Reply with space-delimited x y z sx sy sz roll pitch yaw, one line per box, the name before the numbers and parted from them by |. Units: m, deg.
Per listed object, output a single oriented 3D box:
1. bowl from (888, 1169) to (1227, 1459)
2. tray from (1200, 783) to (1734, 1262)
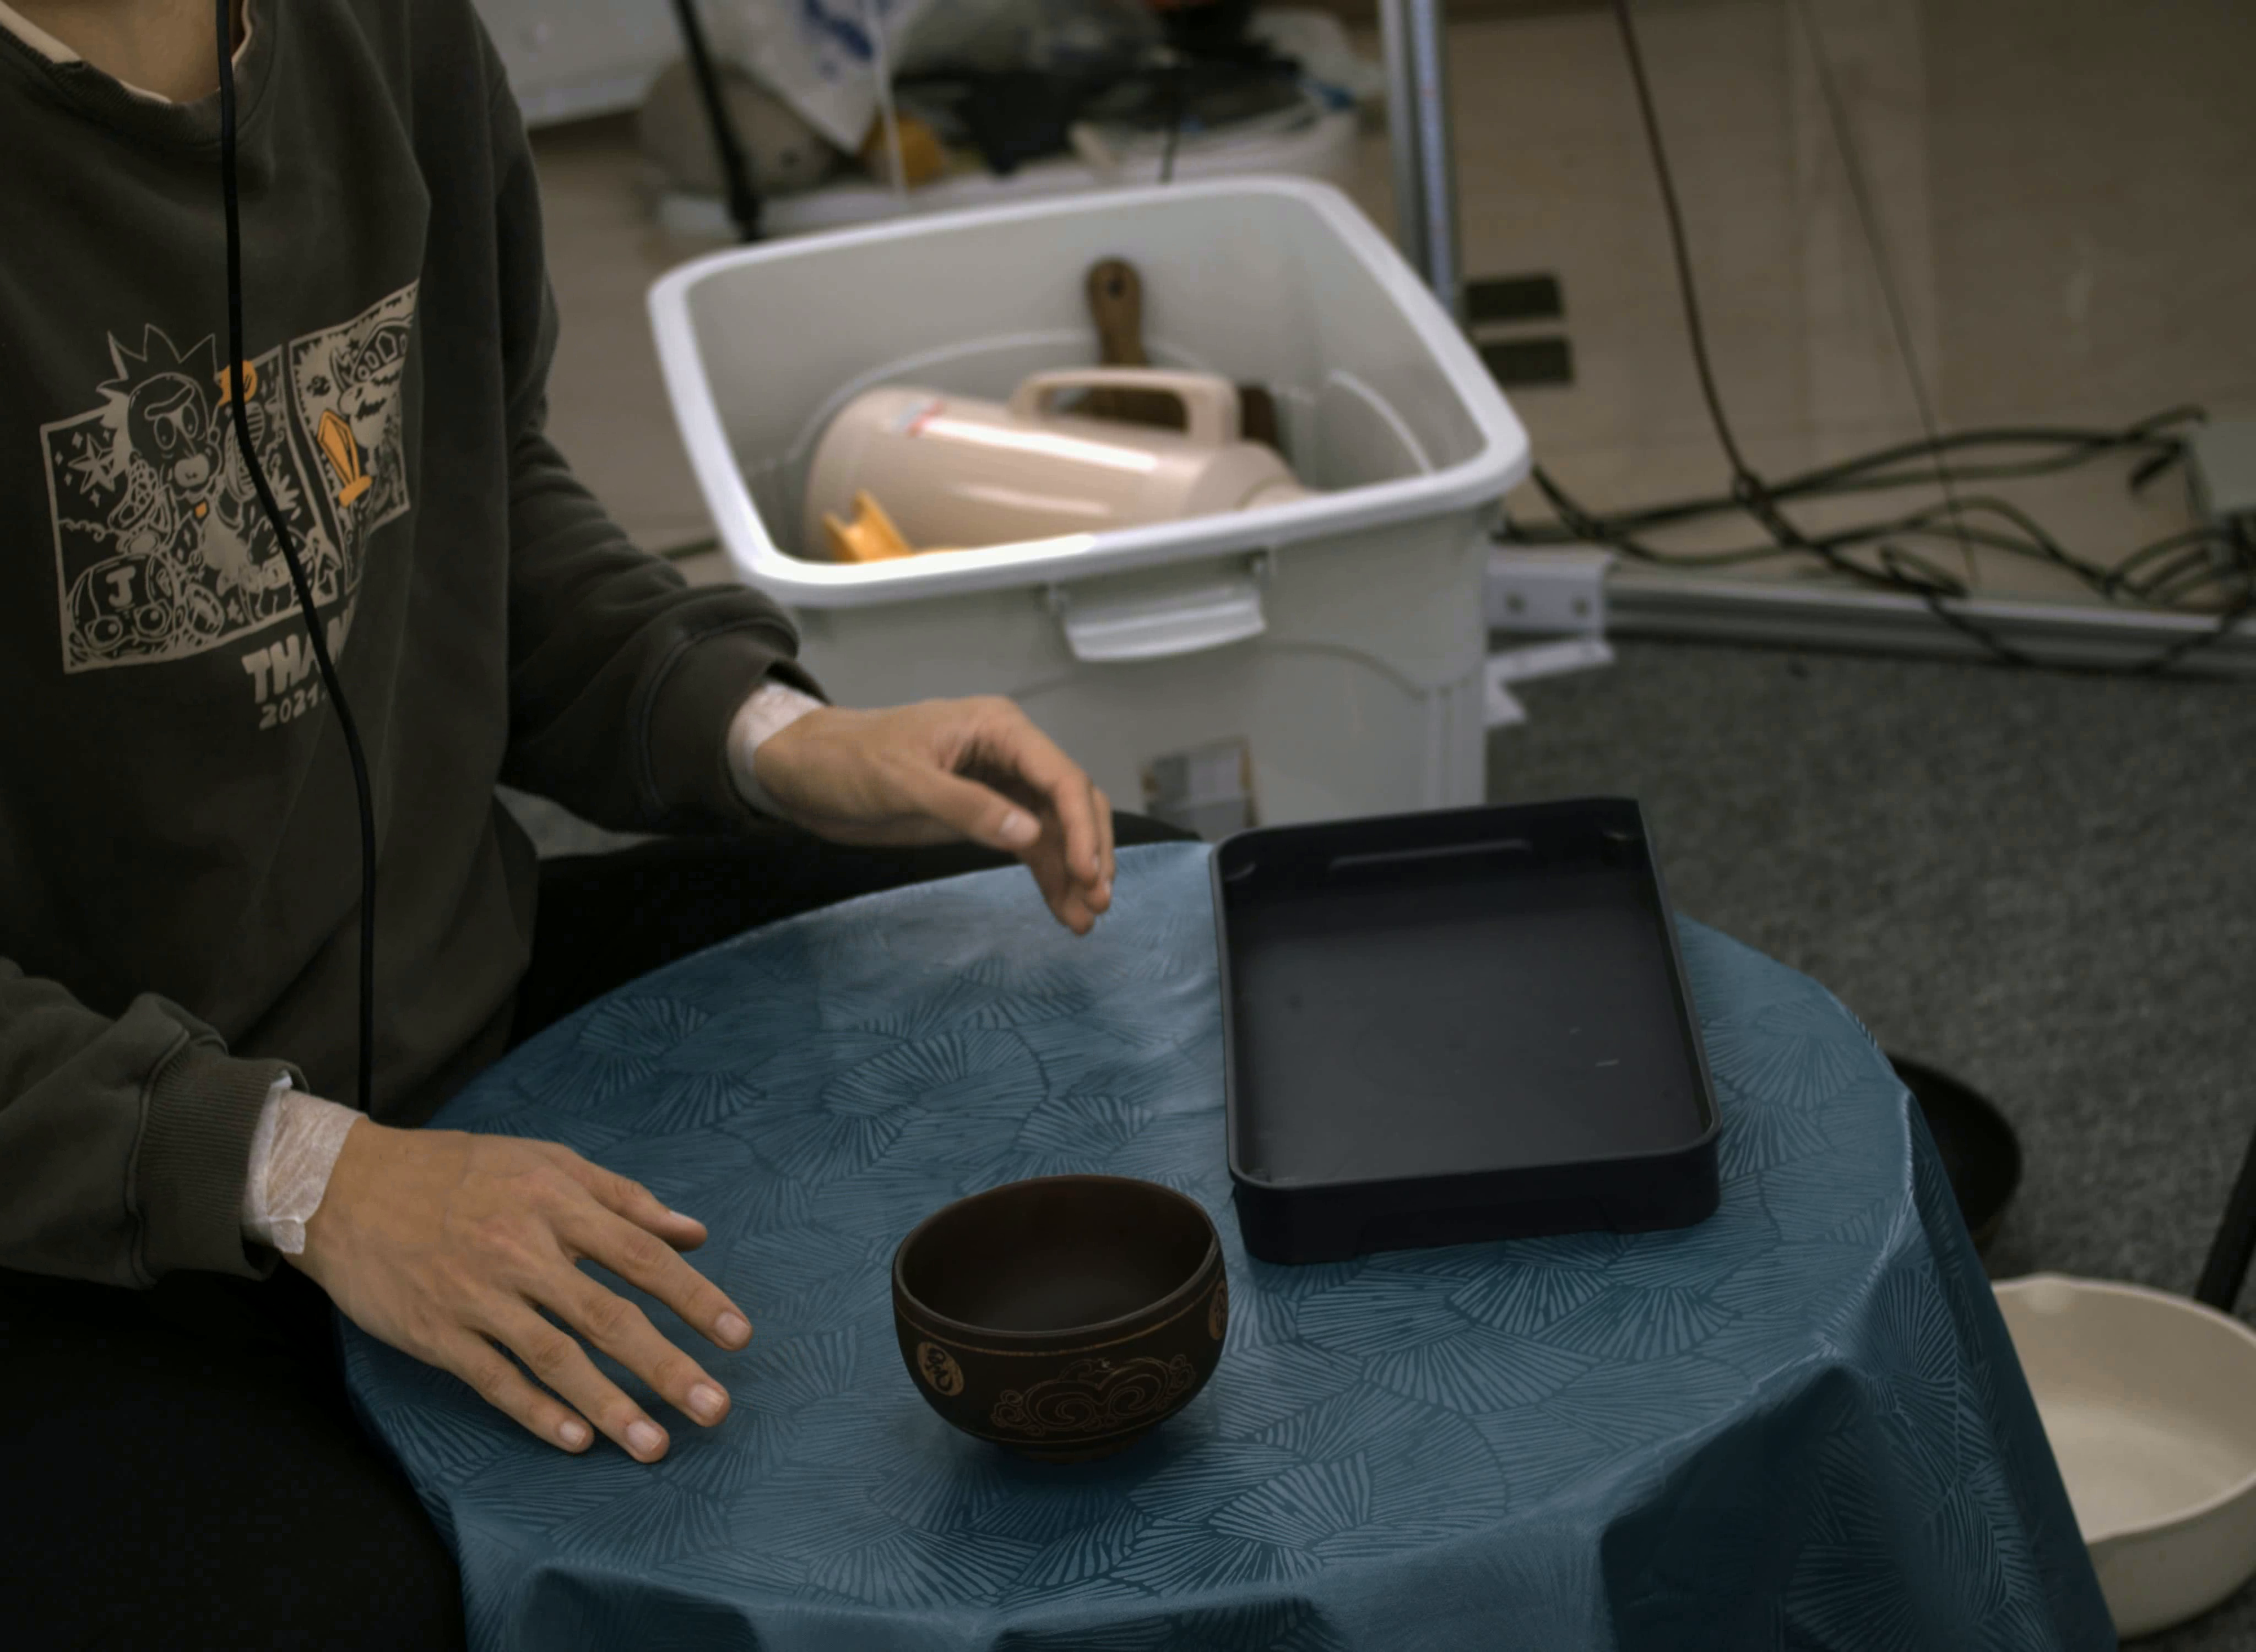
bowl | -0.022 0.177 1.984 0.118 0.071 0.116 -7 25 3
tray | 0.128 0.072 2.216 0.184 0.037 0.313 -7 25 1
